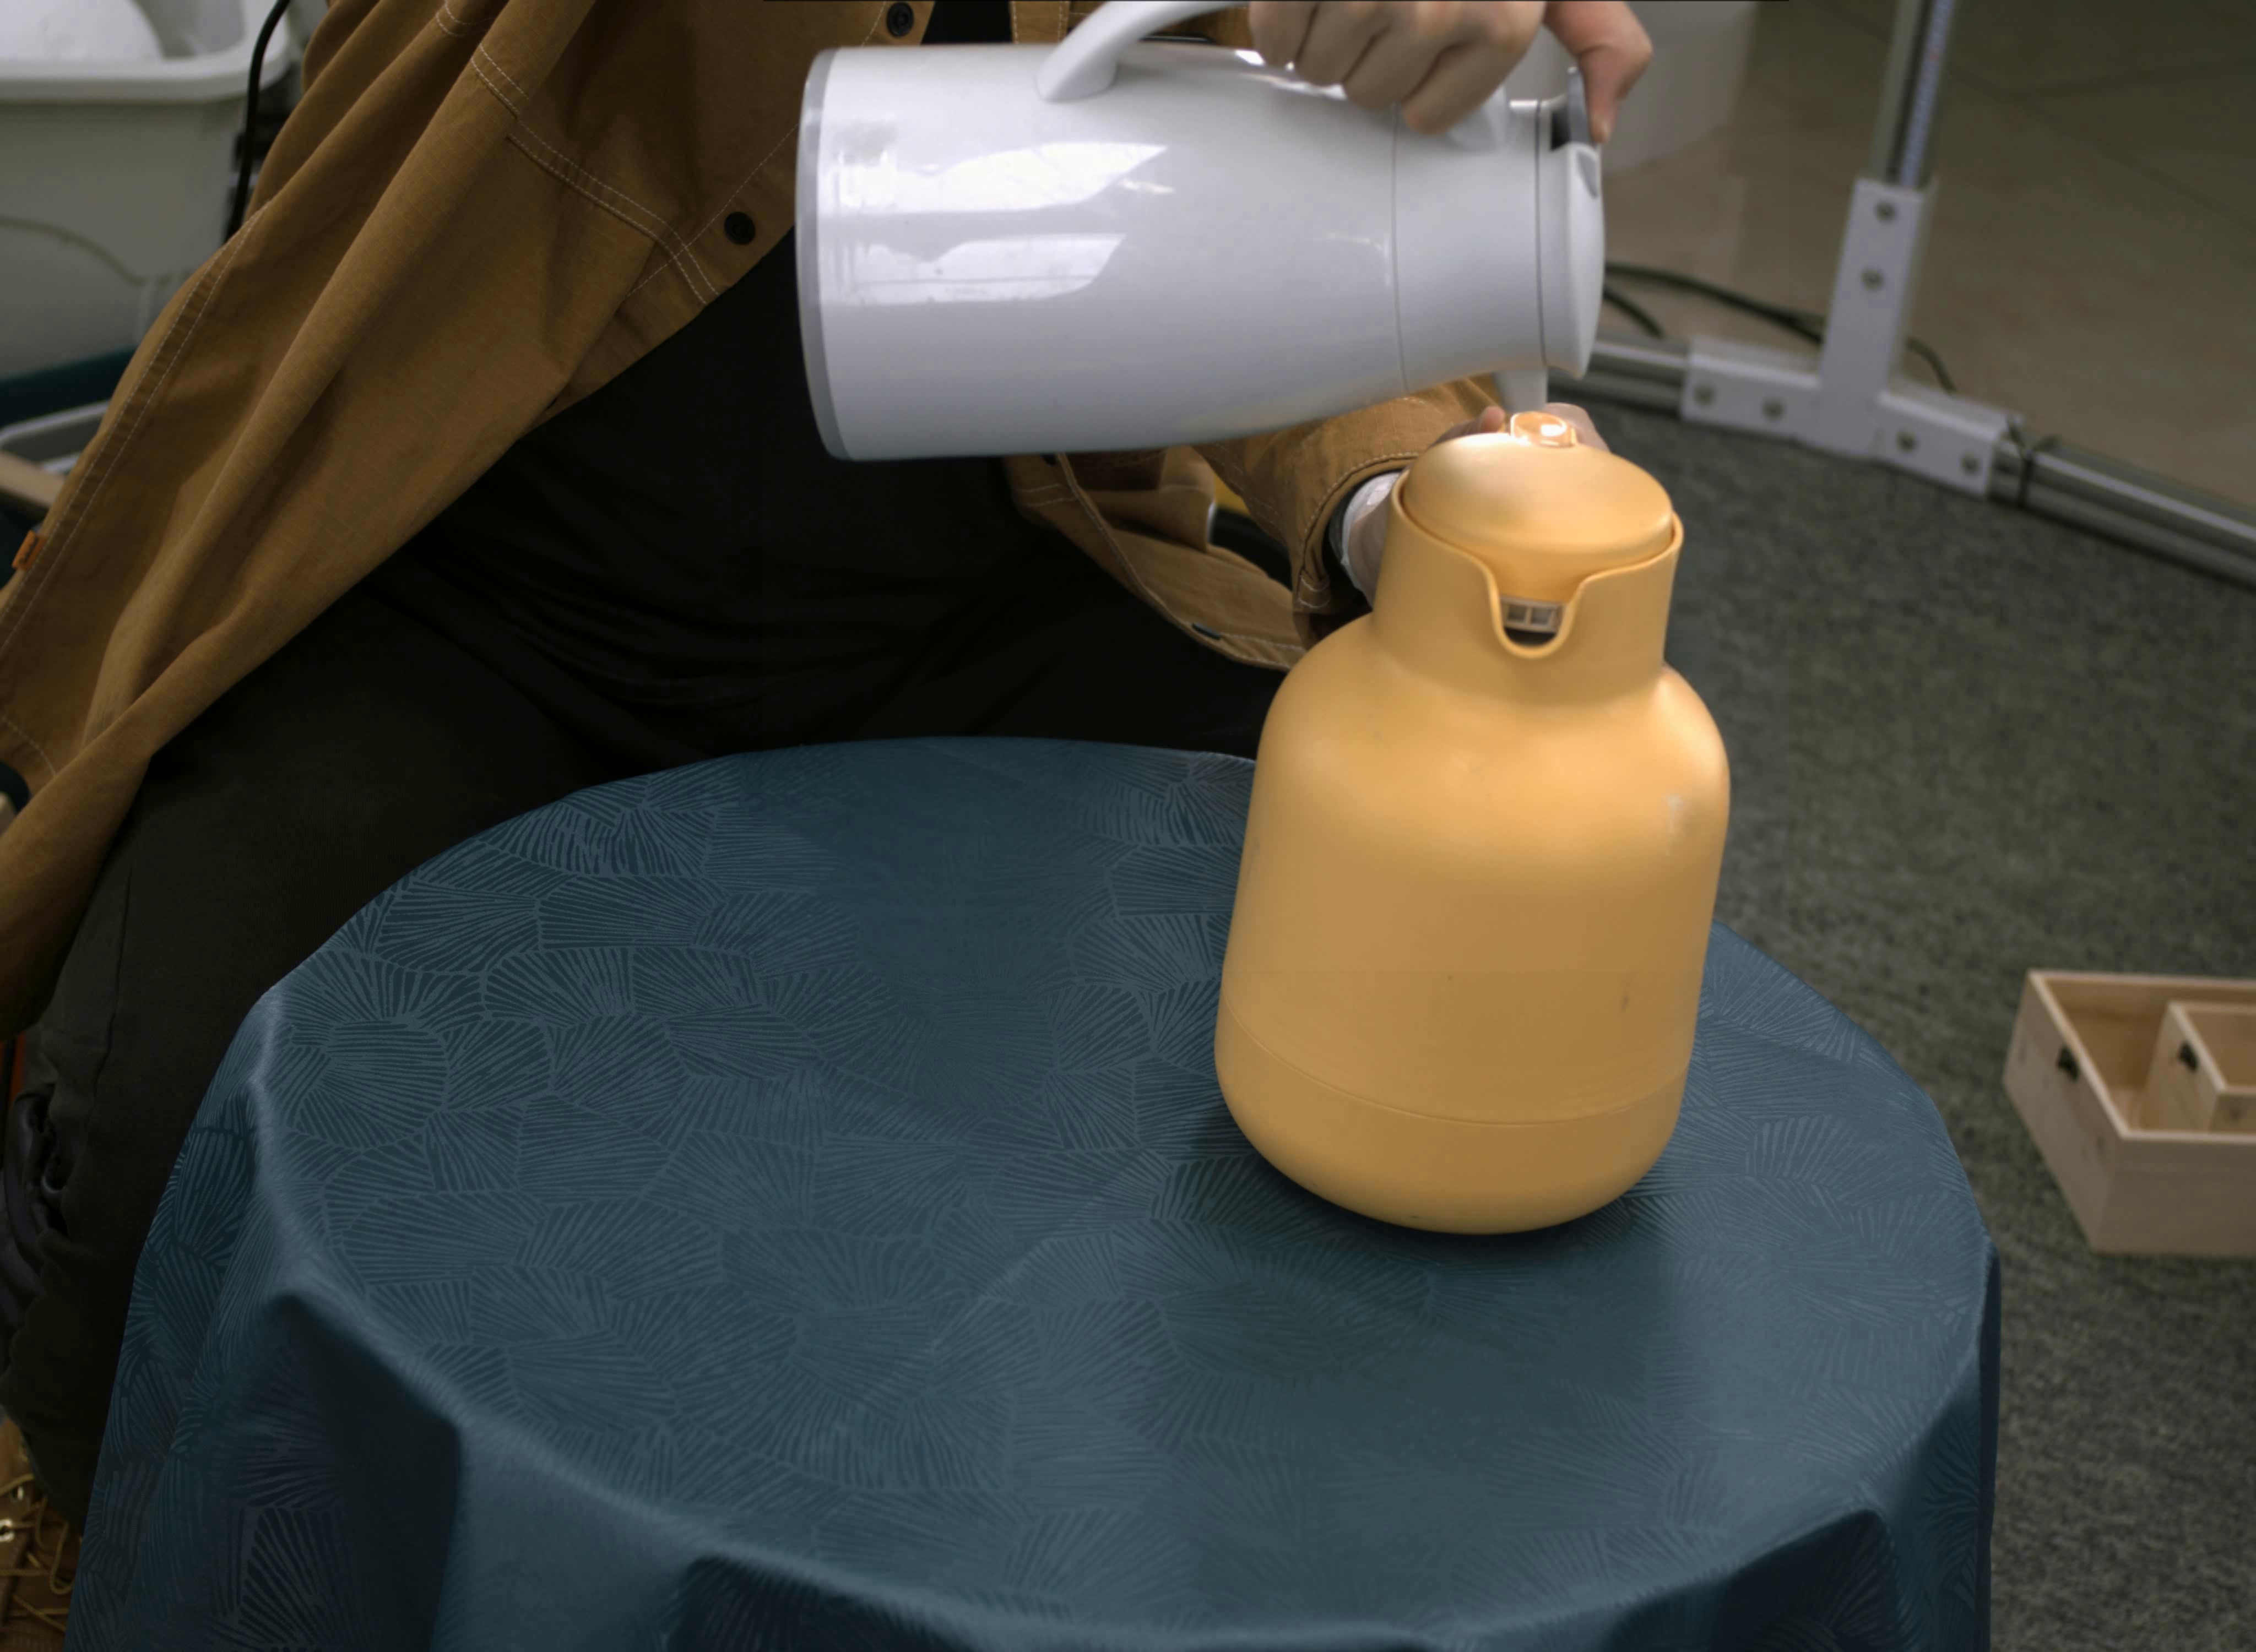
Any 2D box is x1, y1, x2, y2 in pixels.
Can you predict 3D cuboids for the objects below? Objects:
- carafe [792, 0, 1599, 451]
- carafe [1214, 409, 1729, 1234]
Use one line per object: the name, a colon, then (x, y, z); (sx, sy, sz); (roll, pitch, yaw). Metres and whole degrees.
carafe: (0.024, -0.200, 1.680); (0.248, 0.166, 0.133); (0, 41, 7)
carafe: (0.124, -0.011, 1.813); (0.163, 0.259, 0.203); (10, 28, 3)
